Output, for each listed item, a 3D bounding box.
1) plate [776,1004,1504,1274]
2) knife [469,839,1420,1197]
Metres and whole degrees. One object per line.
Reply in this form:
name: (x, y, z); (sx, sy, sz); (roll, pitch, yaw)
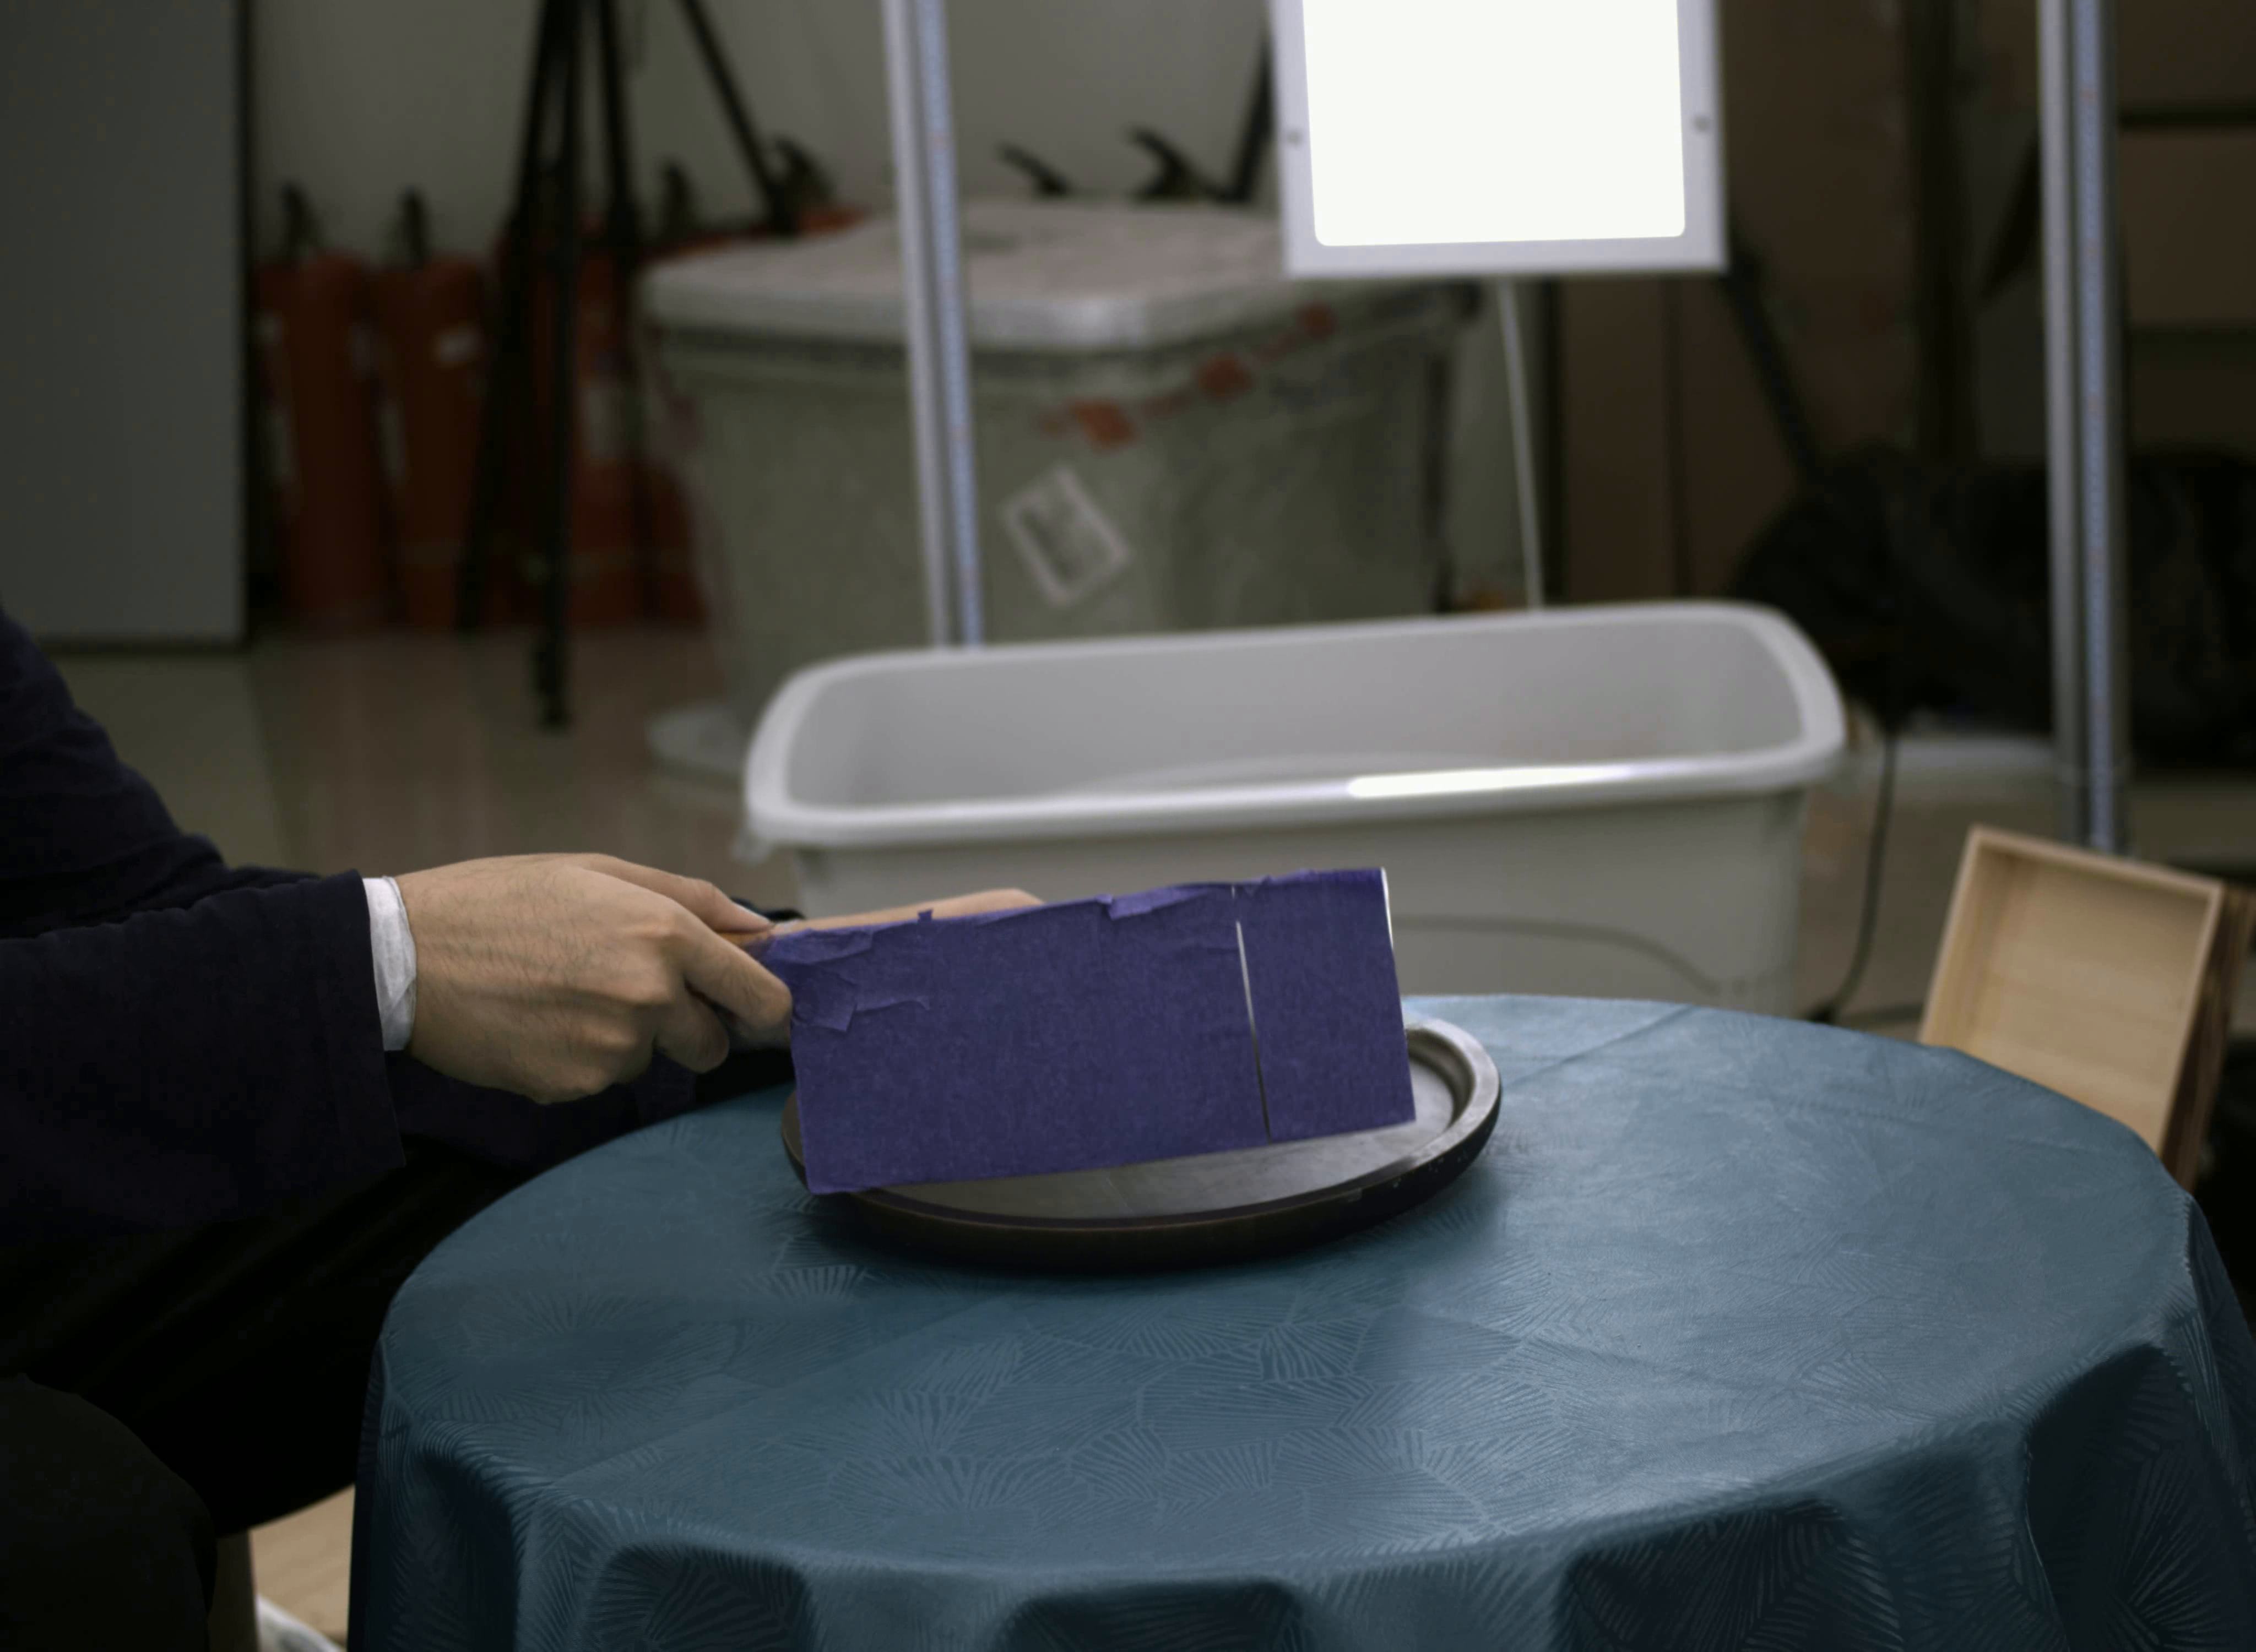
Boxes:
plate: (0.005, 0.103, 1.919); (0.254, 0.029, 0.254); (-5, 18, 0)
knife: (-0.060, 0.074, 1.841); (0.314, 0.104, 0.032); (-7, 4, 1)
